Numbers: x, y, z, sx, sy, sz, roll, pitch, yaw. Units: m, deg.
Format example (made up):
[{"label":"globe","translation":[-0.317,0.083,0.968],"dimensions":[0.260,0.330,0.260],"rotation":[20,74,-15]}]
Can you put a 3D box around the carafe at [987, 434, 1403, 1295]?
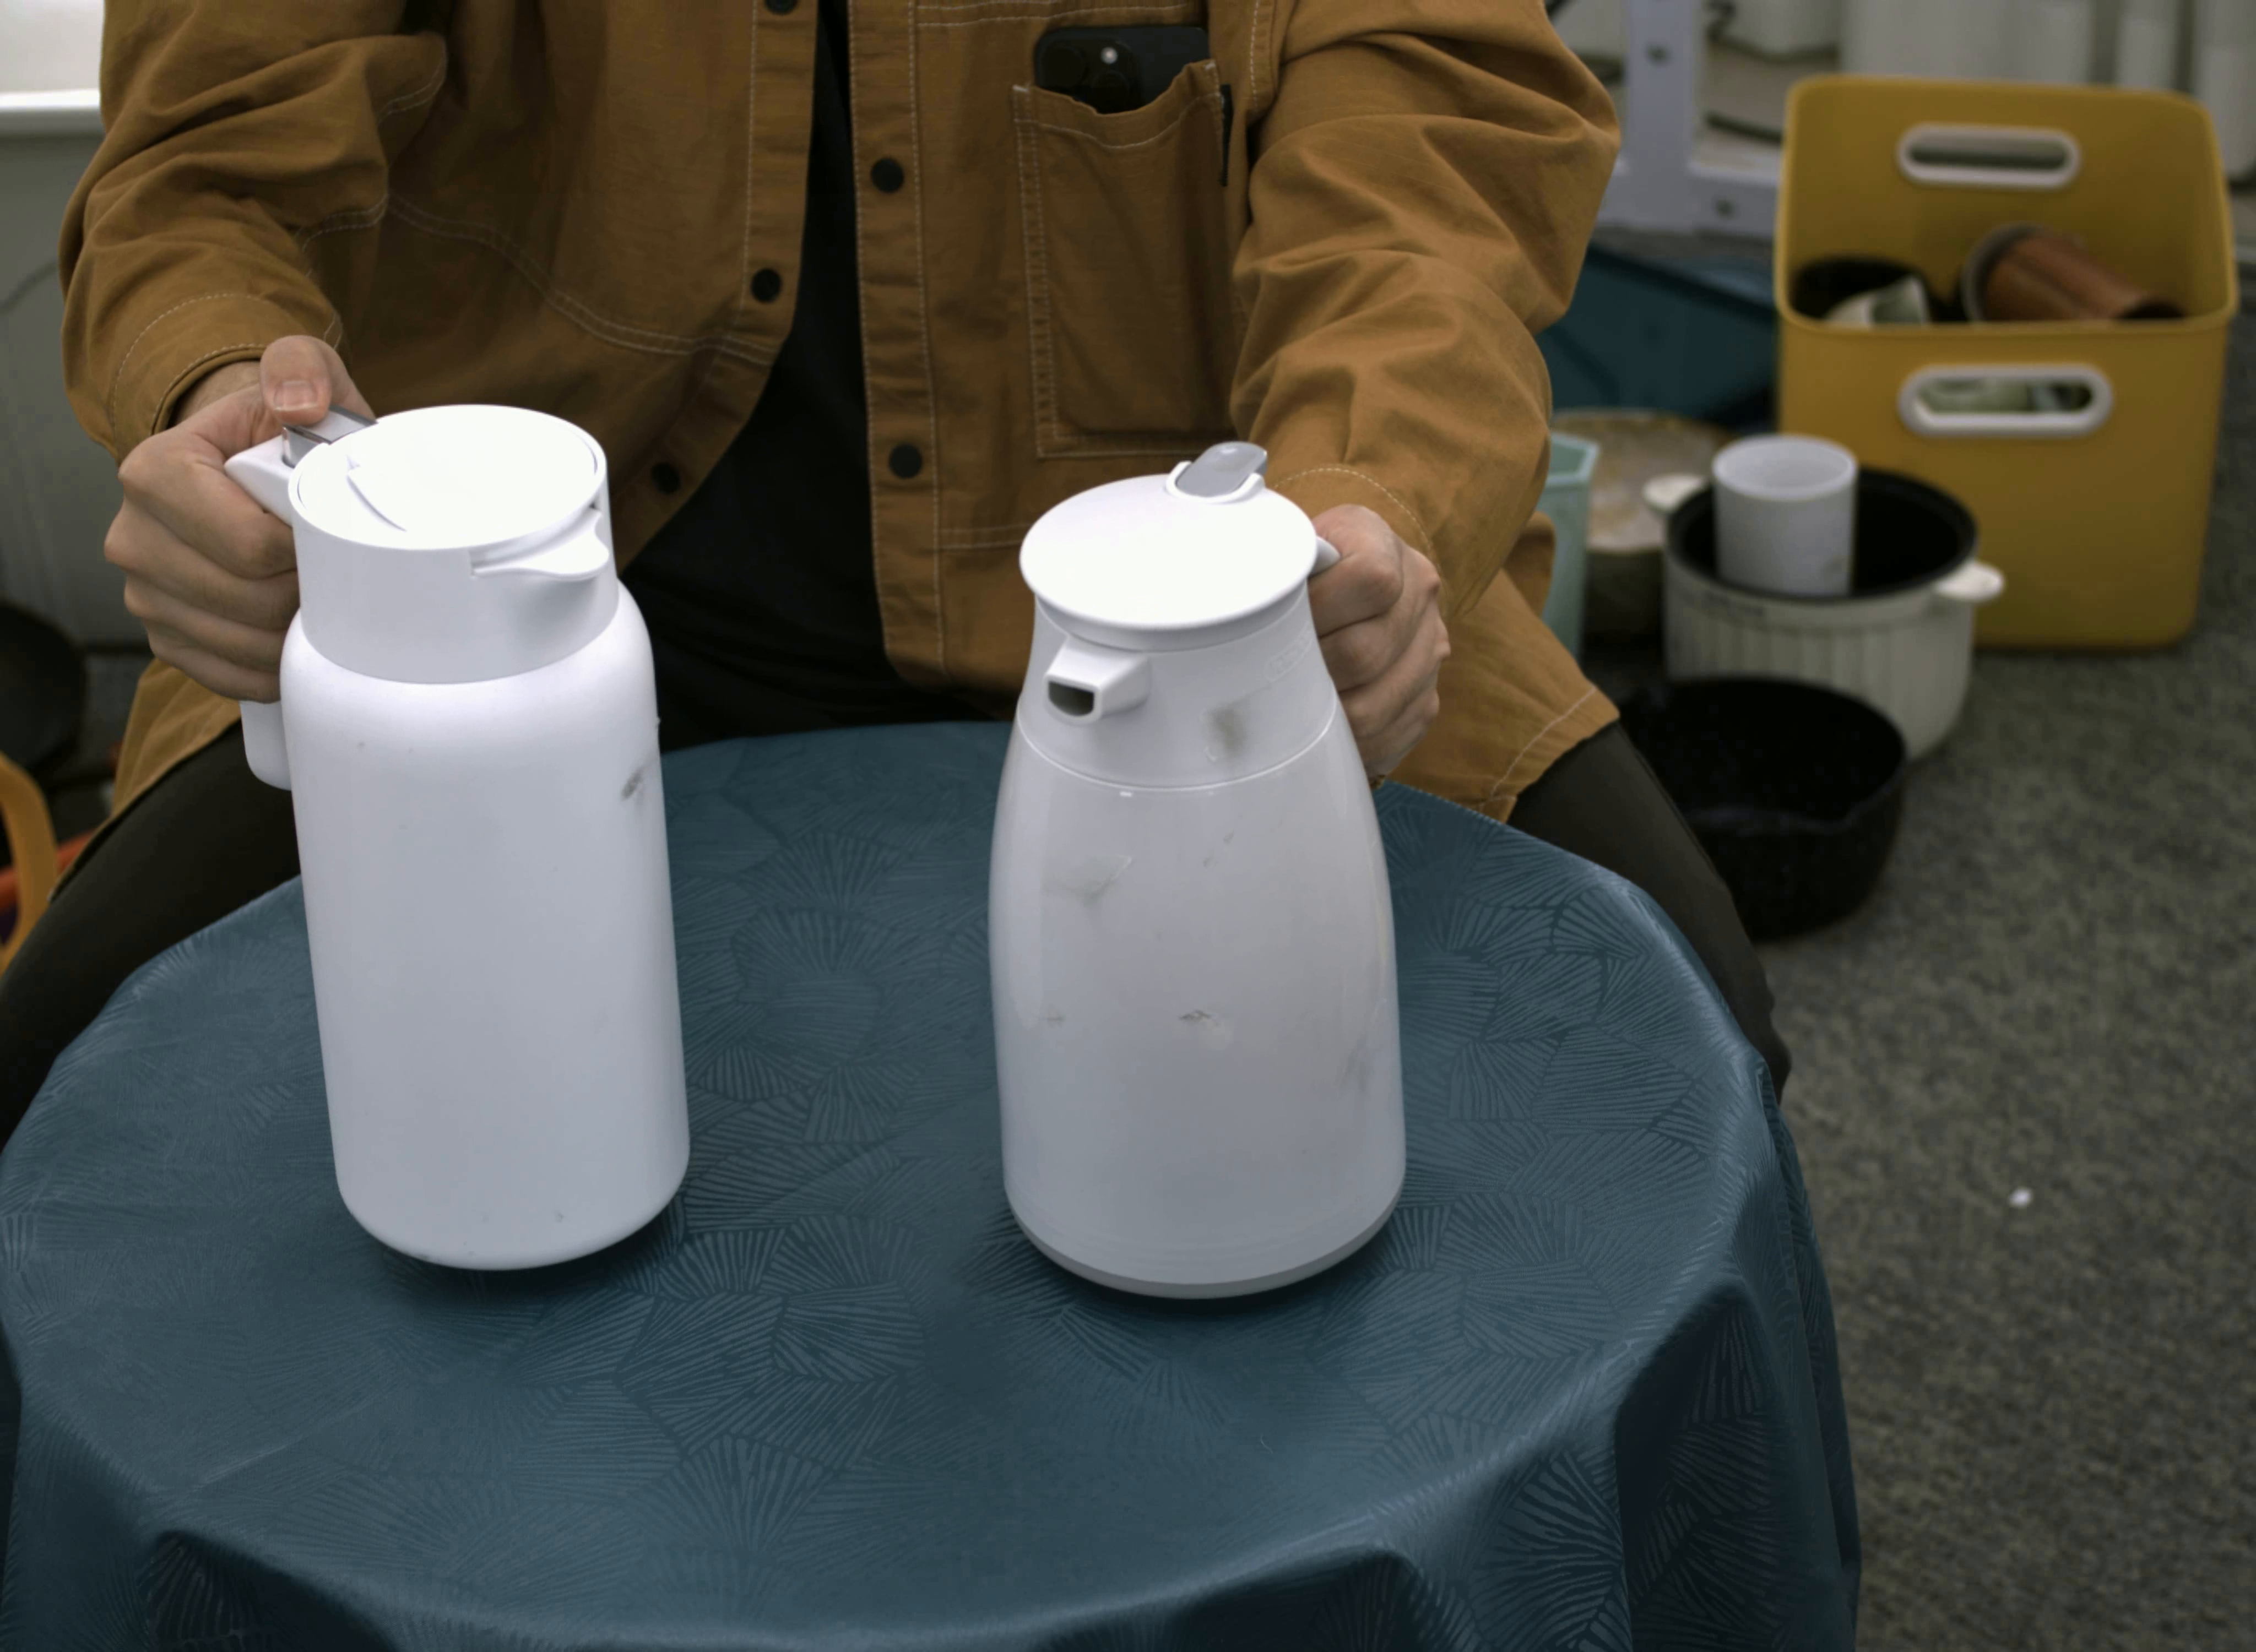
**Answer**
[{"label":"carafe","translation":[0.027,0.000,1.789],"dimensions":[0.132,0.245,0.170],"rotation":[13,34,25]}]

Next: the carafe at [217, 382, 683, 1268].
[{"label":"carafe","translation":[-0.220,-0.002,1.803],"dimensions":[0.172,0.265,0.125],"rotation":[23,39,36]}]
